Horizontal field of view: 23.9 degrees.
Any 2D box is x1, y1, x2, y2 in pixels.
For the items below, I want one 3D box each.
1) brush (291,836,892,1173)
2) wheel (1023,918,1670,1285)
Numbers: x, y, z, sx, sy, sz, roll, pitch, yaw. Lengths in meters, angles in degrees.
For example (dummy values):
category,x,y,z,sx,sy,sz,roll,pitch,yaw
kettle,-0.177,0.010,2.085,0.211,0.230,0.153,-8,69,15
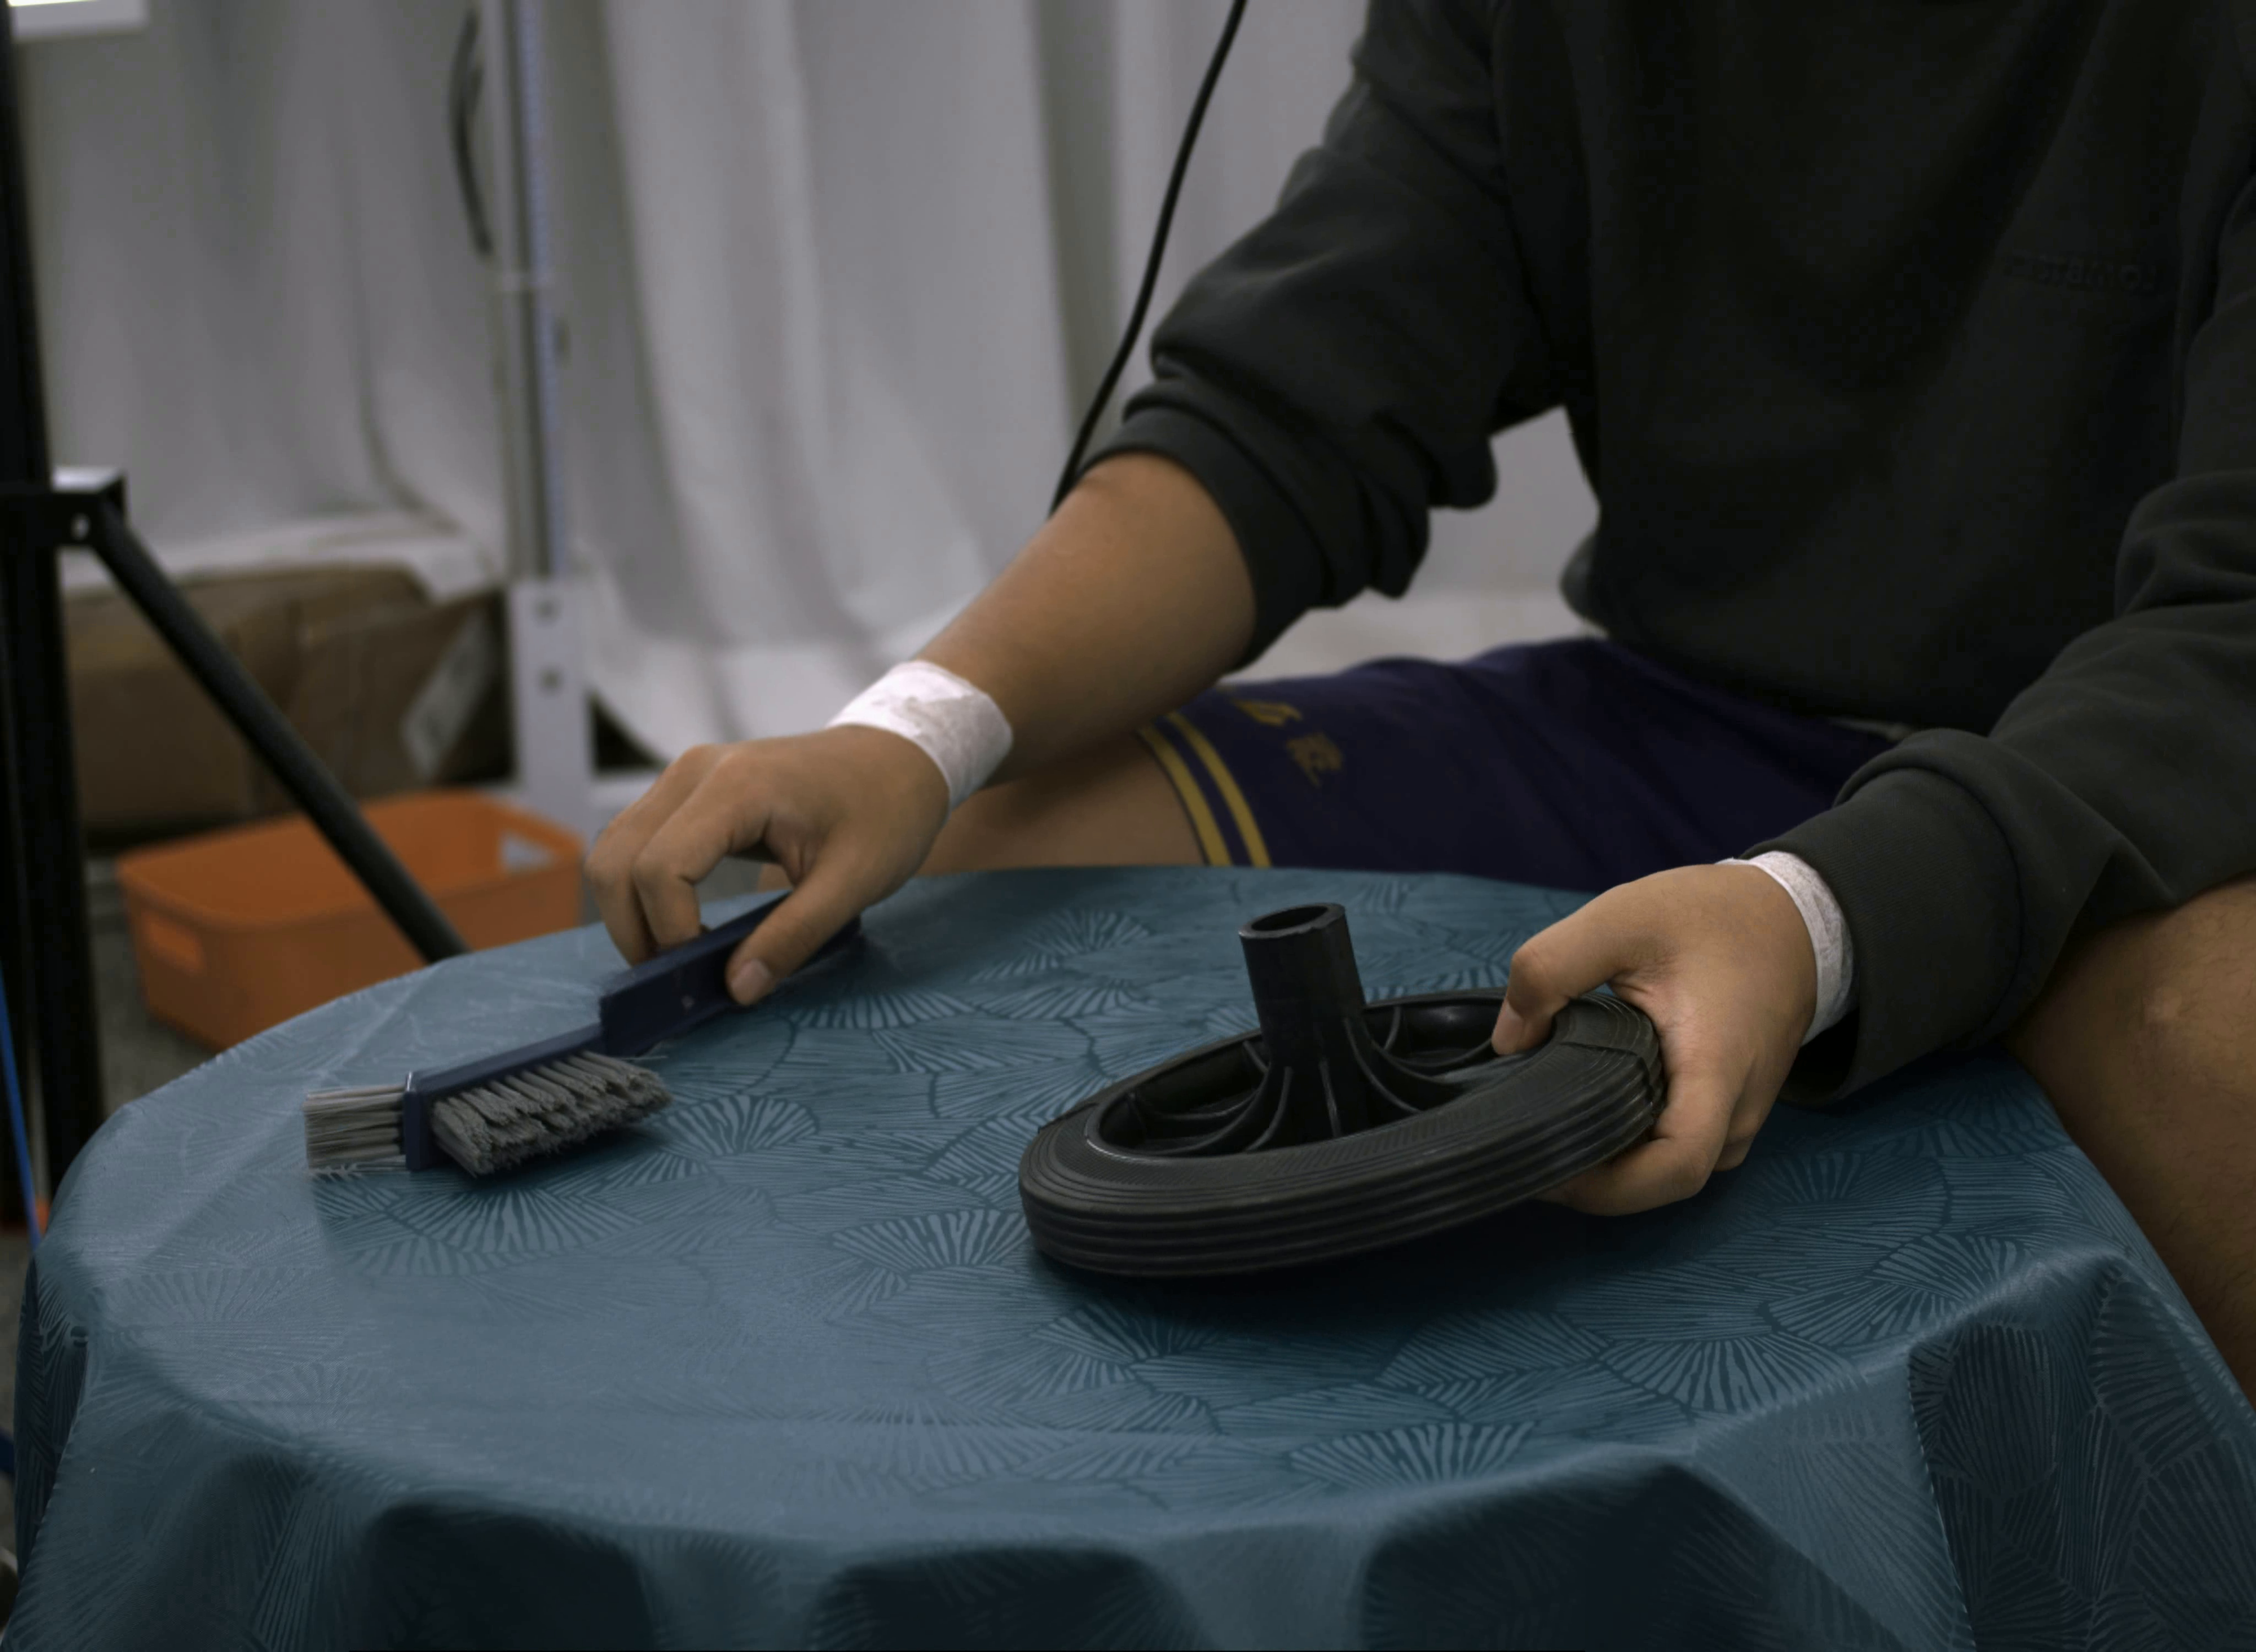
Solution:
category,x,y,z,sx,sy,sz,roll,pitch,yaw
brush,-0.161,0.056,1.711,0.097,0.033,0.269,4,18,23
wheel,0.057,0.068,1.512,0.186,0.079,0.191,-20,13,-29
